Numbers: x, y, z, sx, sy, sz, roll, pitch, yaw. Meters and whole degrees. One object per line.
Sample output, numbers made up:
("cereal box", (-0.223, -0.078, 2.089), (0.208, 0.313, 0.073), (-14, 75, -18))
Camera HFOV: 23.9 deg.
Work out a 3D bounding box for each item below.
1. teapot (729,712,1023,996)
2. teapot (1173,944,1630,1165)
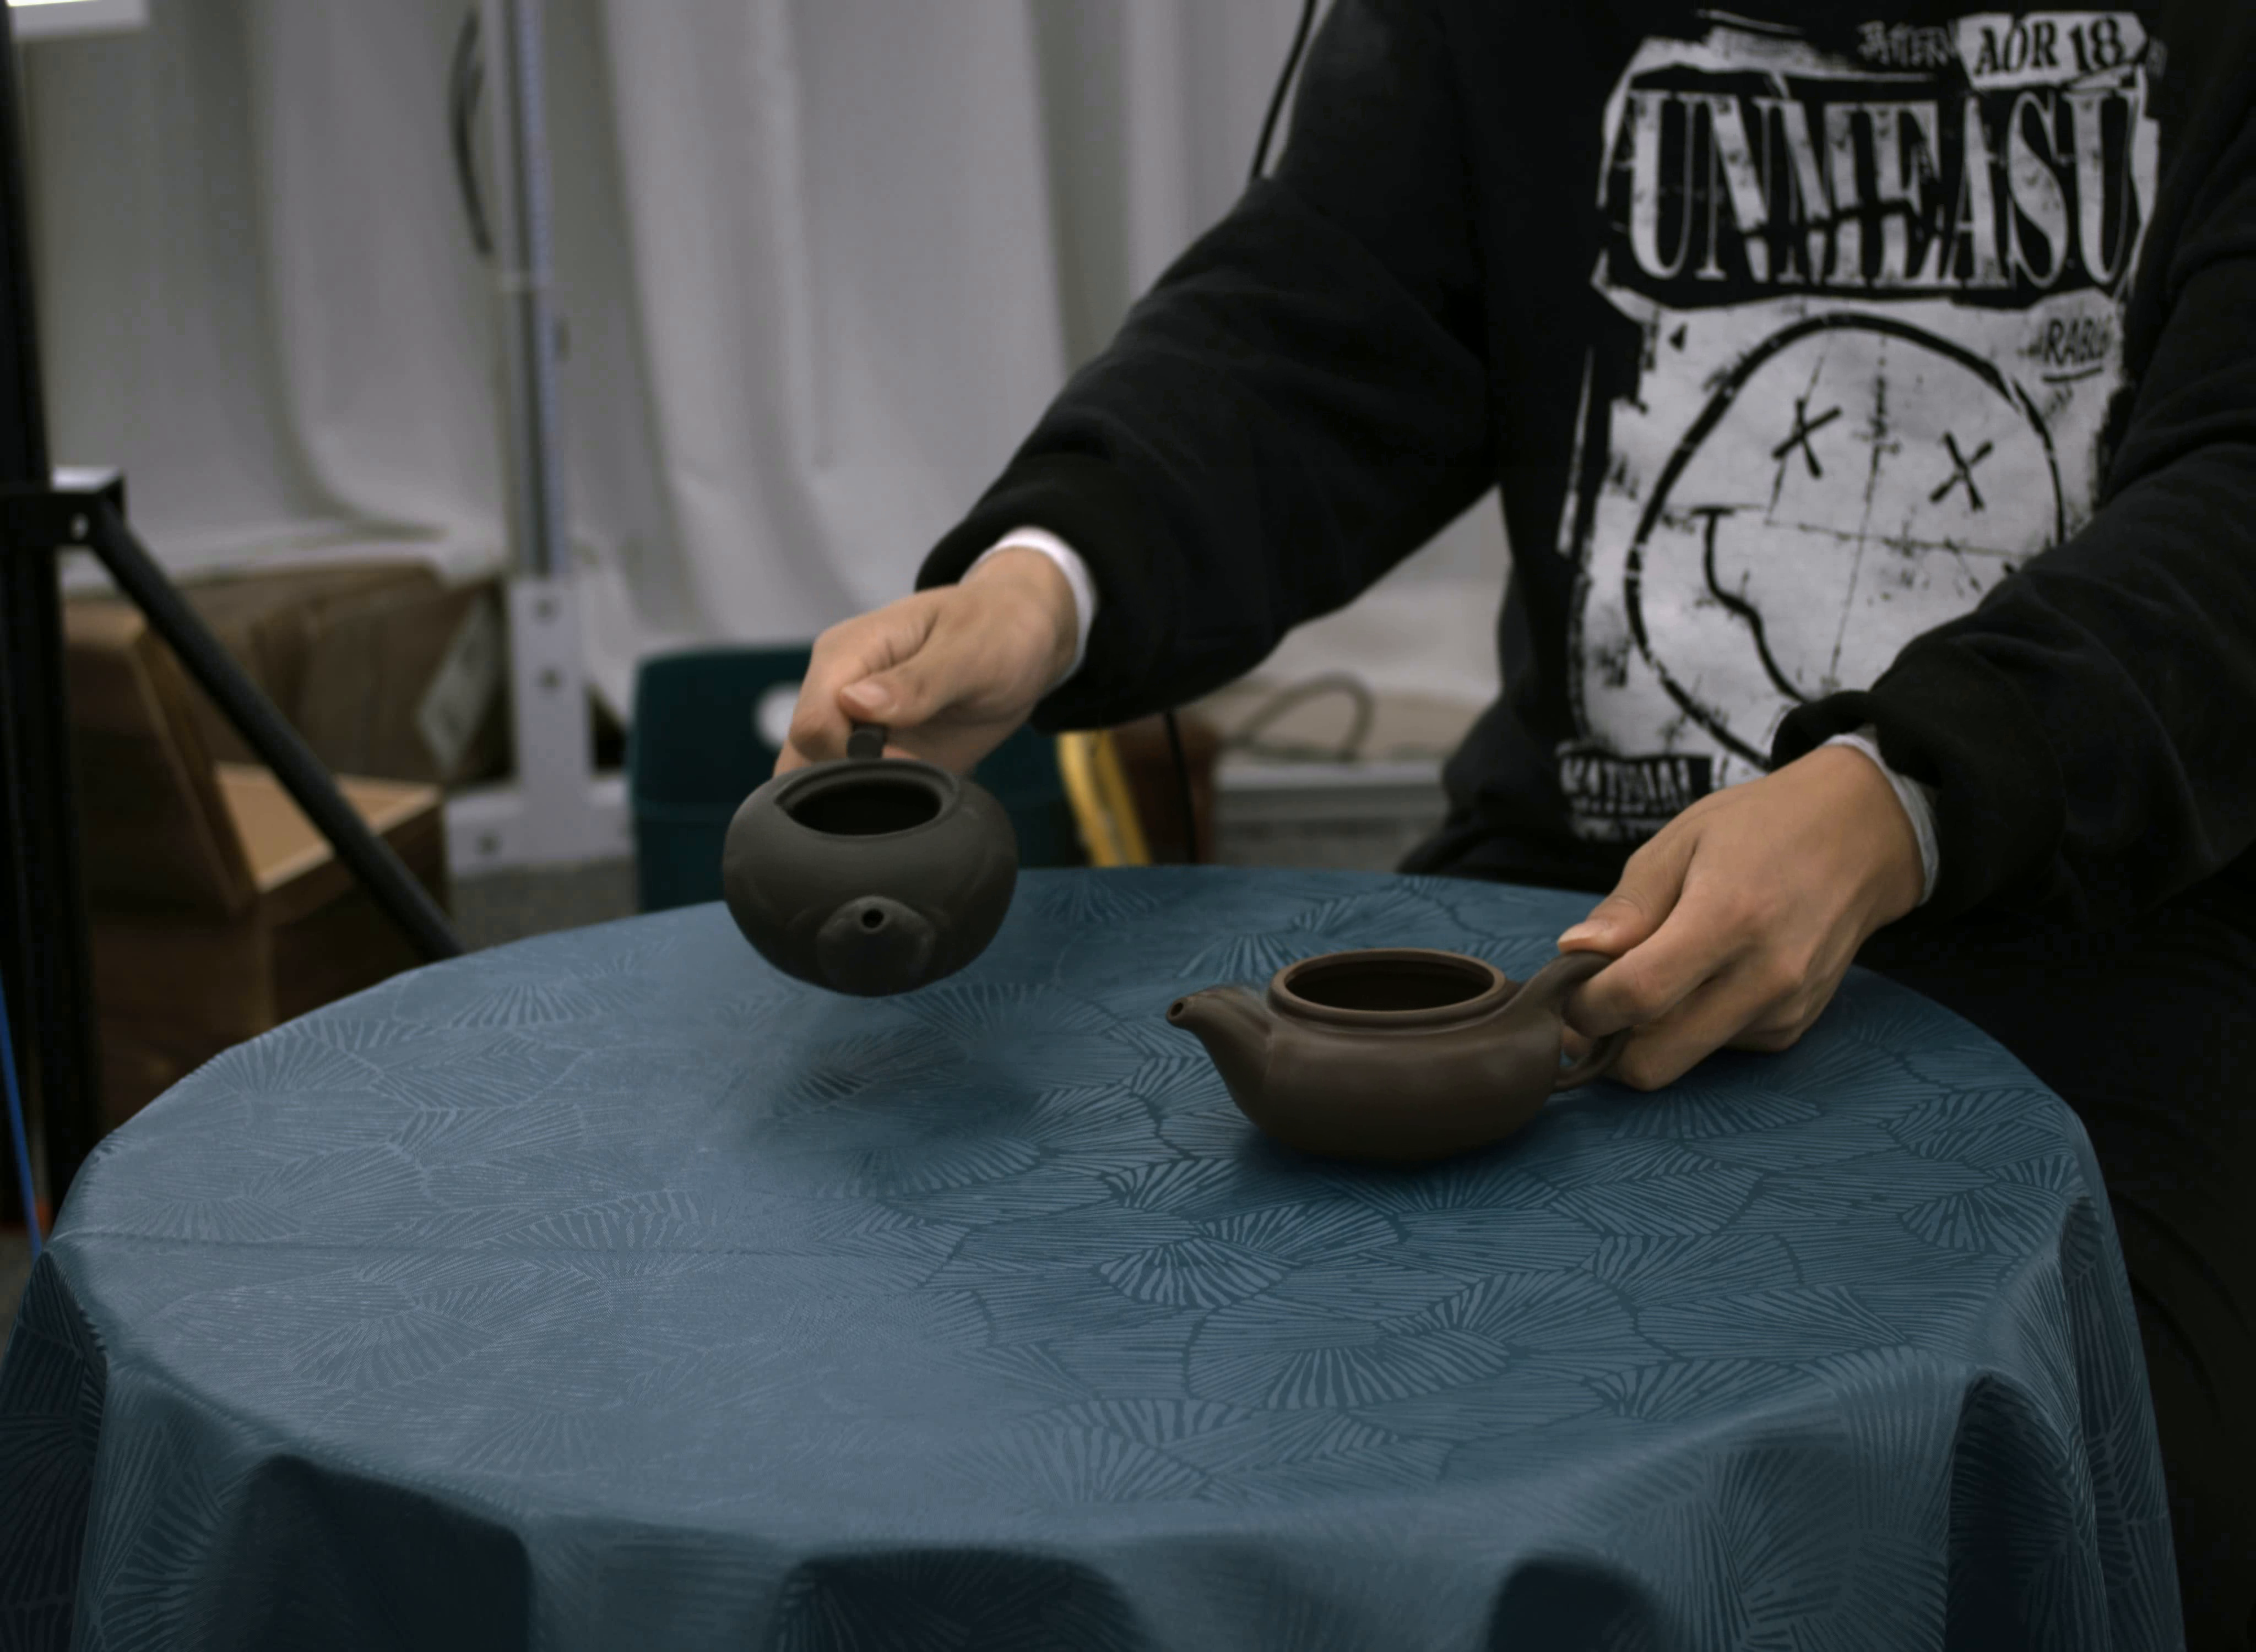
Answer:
("teapot", (-0.079, 0.012, 1.668), (0.092, 0.064, 0.155), (0, 27, -1))
("teapot", (0.083, 0.066, 1.588), (0.150, 0.054, 0.105), (-10, 19, -26))
